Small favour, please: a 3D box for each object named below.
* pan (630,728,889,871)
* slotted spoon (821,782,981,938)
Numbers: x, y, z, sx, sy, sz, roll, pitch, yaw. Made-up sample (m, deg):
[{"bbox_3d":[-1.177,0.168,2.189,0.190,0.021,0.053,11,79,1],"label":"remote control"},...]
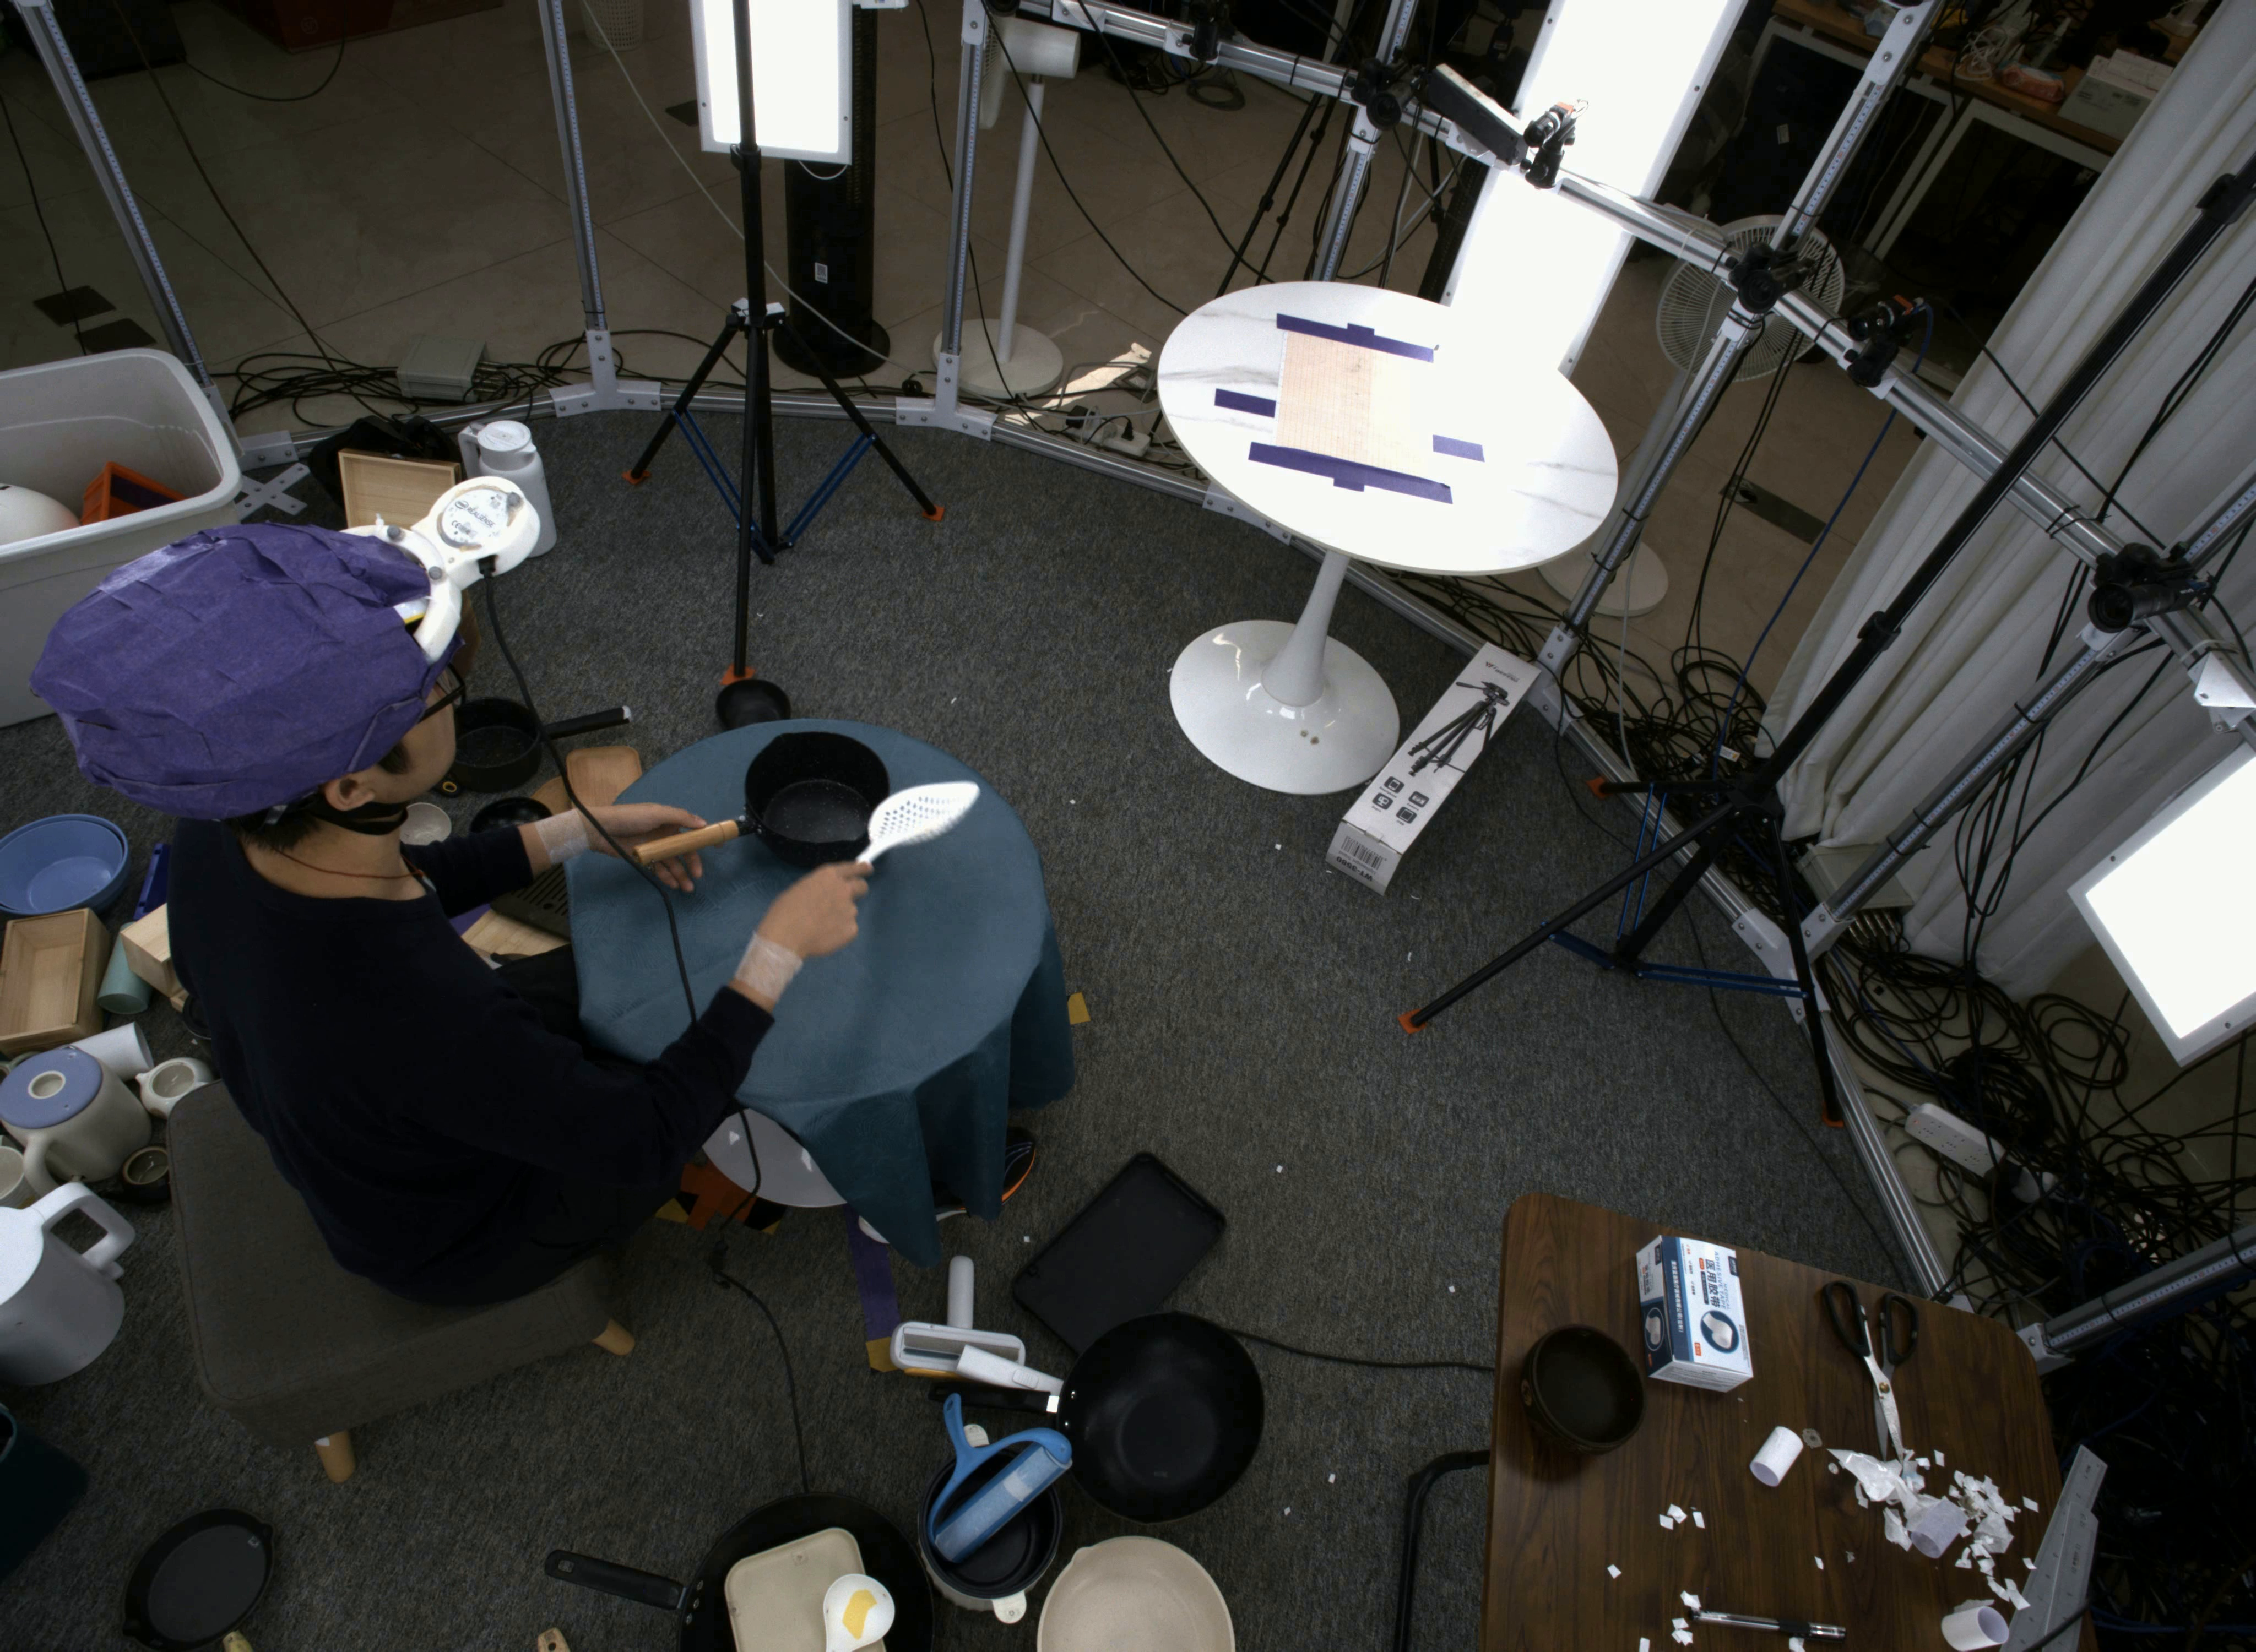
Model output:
[{"bbox_3d":[-0.463,-0.004,1.636,0.344,0.110,0.203,-28,66,-32],"label":"pan"},{"bbox_3d":[-0.280,0.030,1.522,0.133,0.052,0.346,-2,21,20],"label":"slotted spoon"}]
